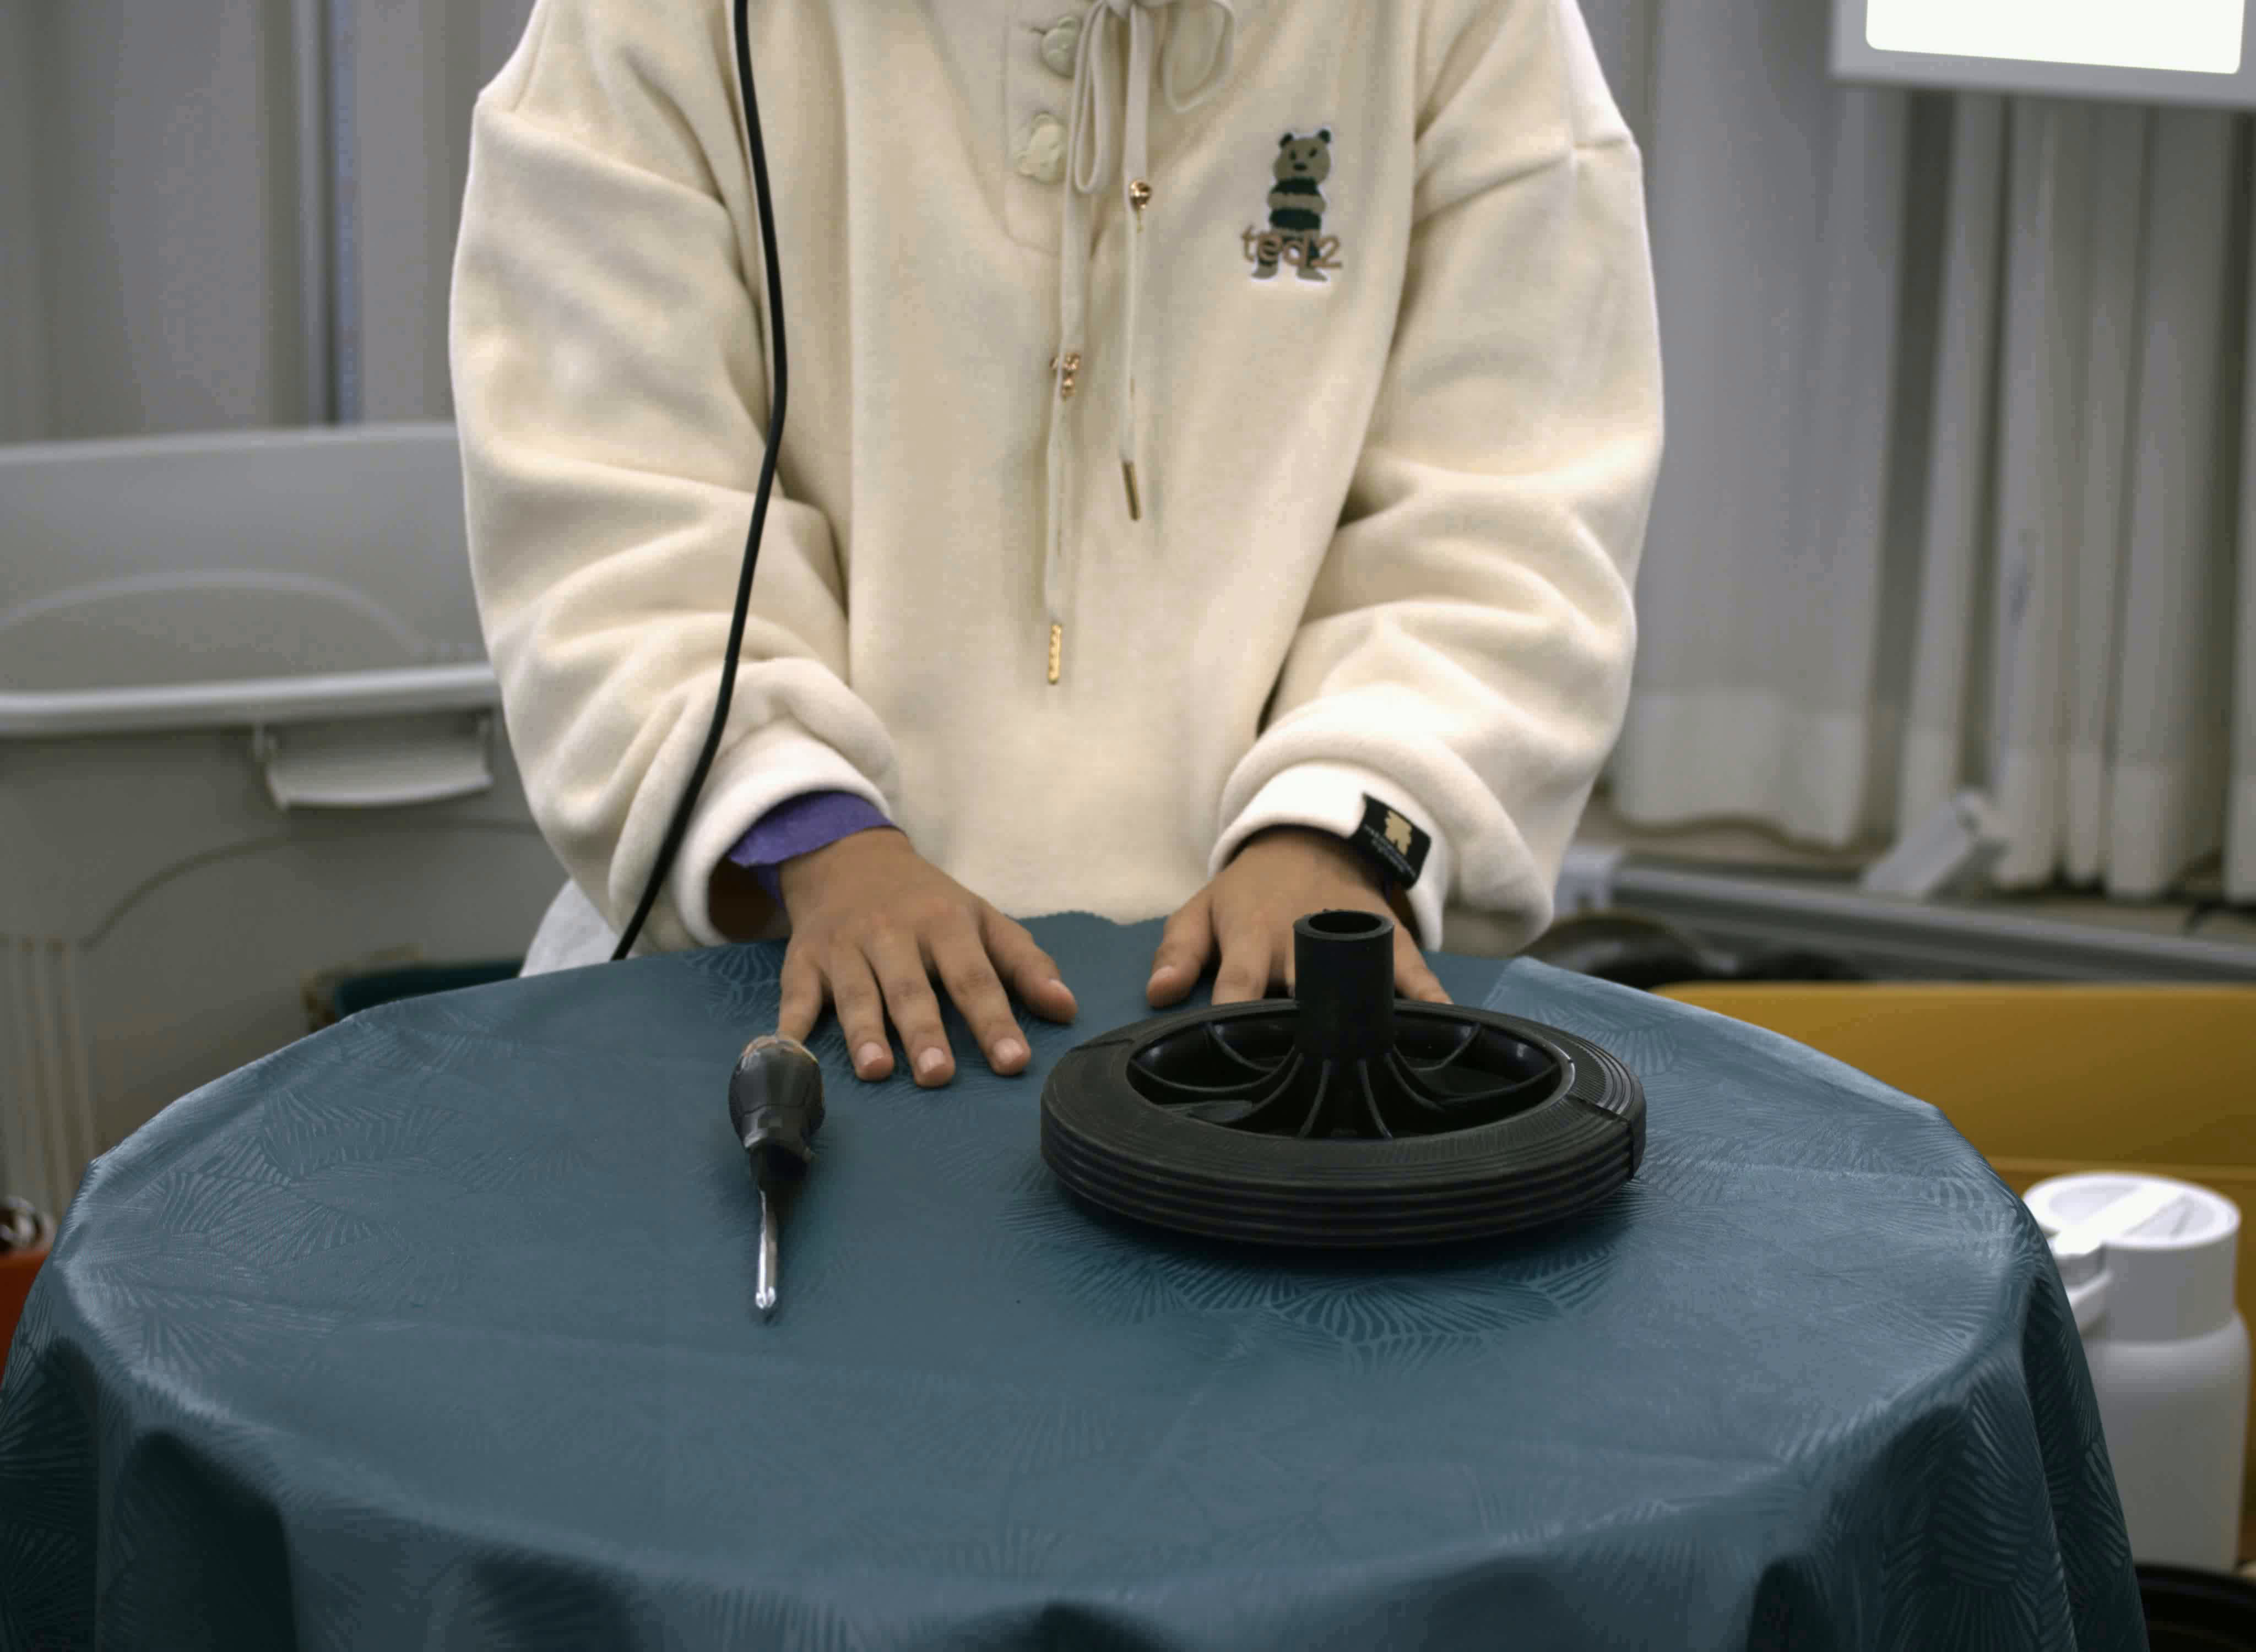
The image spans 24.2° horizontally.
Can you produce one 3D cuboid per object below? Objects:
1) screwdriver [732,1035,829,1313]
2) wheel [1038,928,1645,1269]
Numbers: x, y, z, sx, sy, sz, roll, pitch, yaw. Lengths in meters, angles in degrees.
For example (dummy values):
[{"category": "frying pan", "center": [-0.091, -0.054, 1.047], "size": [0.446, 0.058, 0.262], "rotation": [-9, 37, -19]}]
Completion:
[{"category": "screwdriver", "center": [-0.104, 0.105, 1.597], "size": [0.031, 0.032, 0.195], "rotation": [-1, 18, -5]}, {"category": "wheel", "center": [0.065, 0.074, 1.624], "size": [0.190, 0.080, 0.185], "rotation": [-13, 20, -30]}]
